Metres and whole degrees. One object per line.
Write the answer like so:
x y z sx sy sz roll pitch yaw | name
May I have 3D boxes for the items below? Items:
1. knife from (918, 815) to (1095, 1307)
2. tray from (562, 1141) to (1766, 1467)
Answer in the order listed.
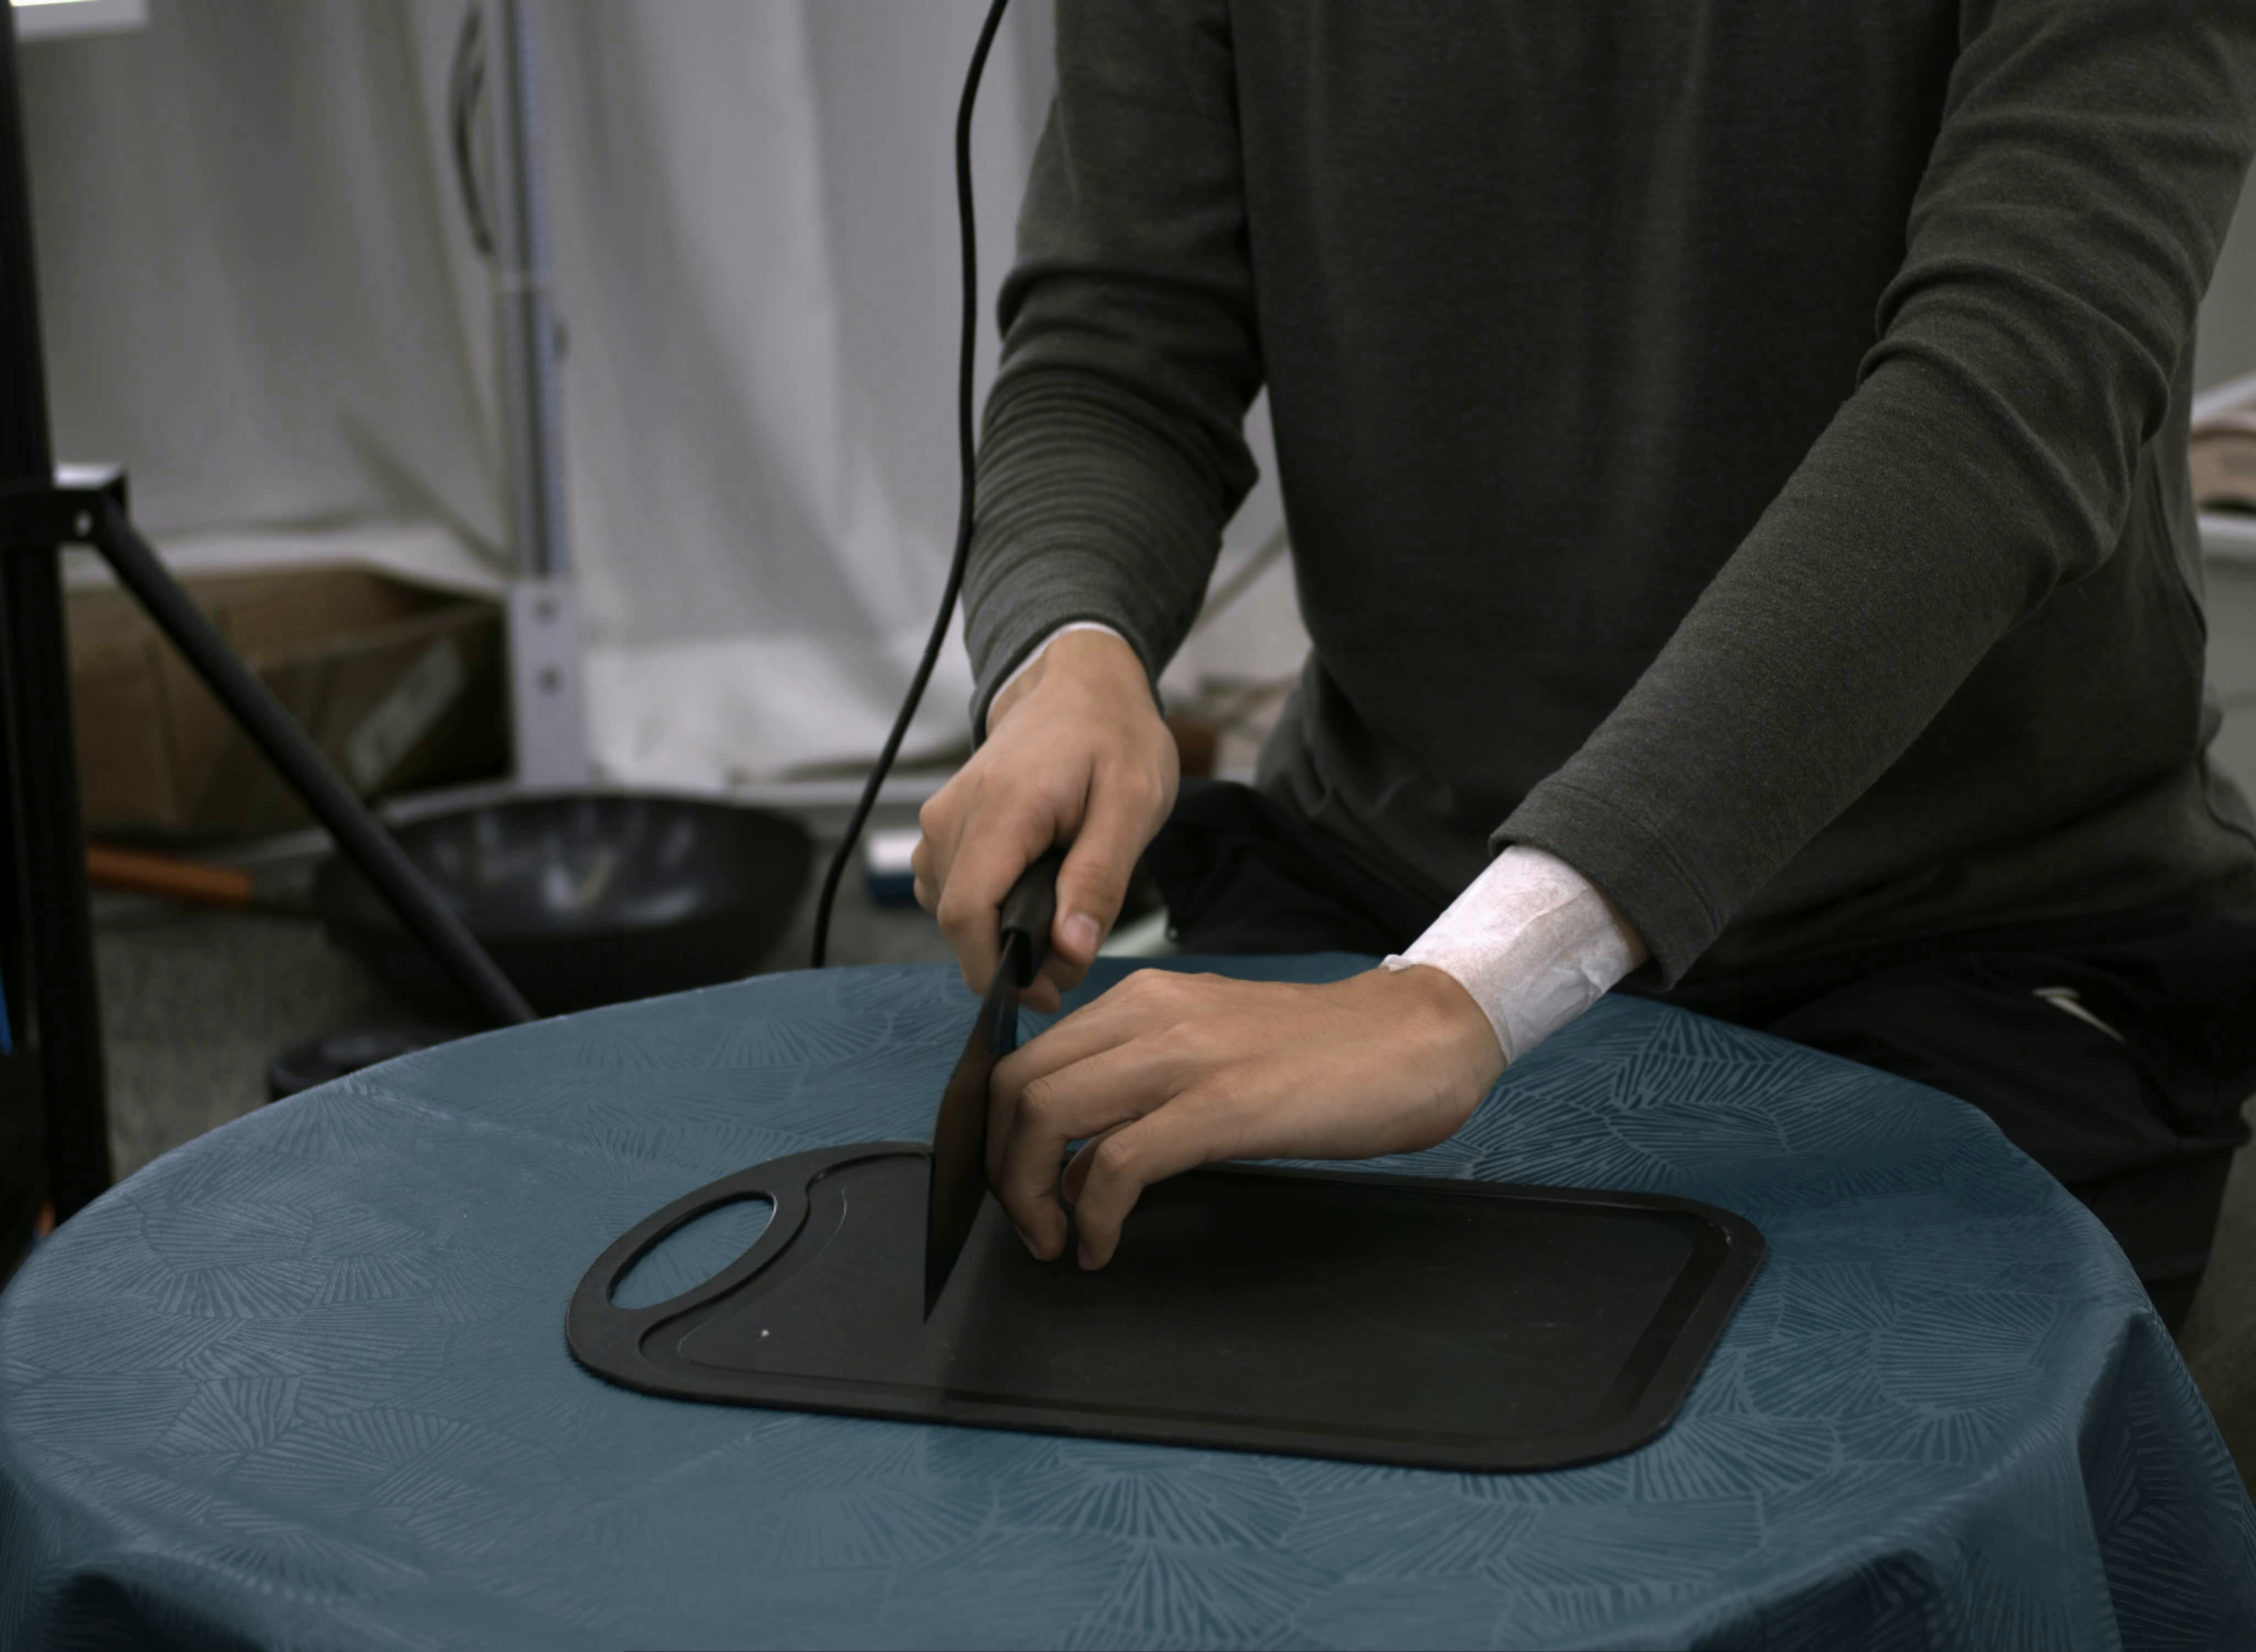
-0.036 0.059 1.544 0.021 0.081 0.302 6 20 5 | knife
0.005 0.128 1.477 0.329 0.010 0.208 3 16 20 | tray
